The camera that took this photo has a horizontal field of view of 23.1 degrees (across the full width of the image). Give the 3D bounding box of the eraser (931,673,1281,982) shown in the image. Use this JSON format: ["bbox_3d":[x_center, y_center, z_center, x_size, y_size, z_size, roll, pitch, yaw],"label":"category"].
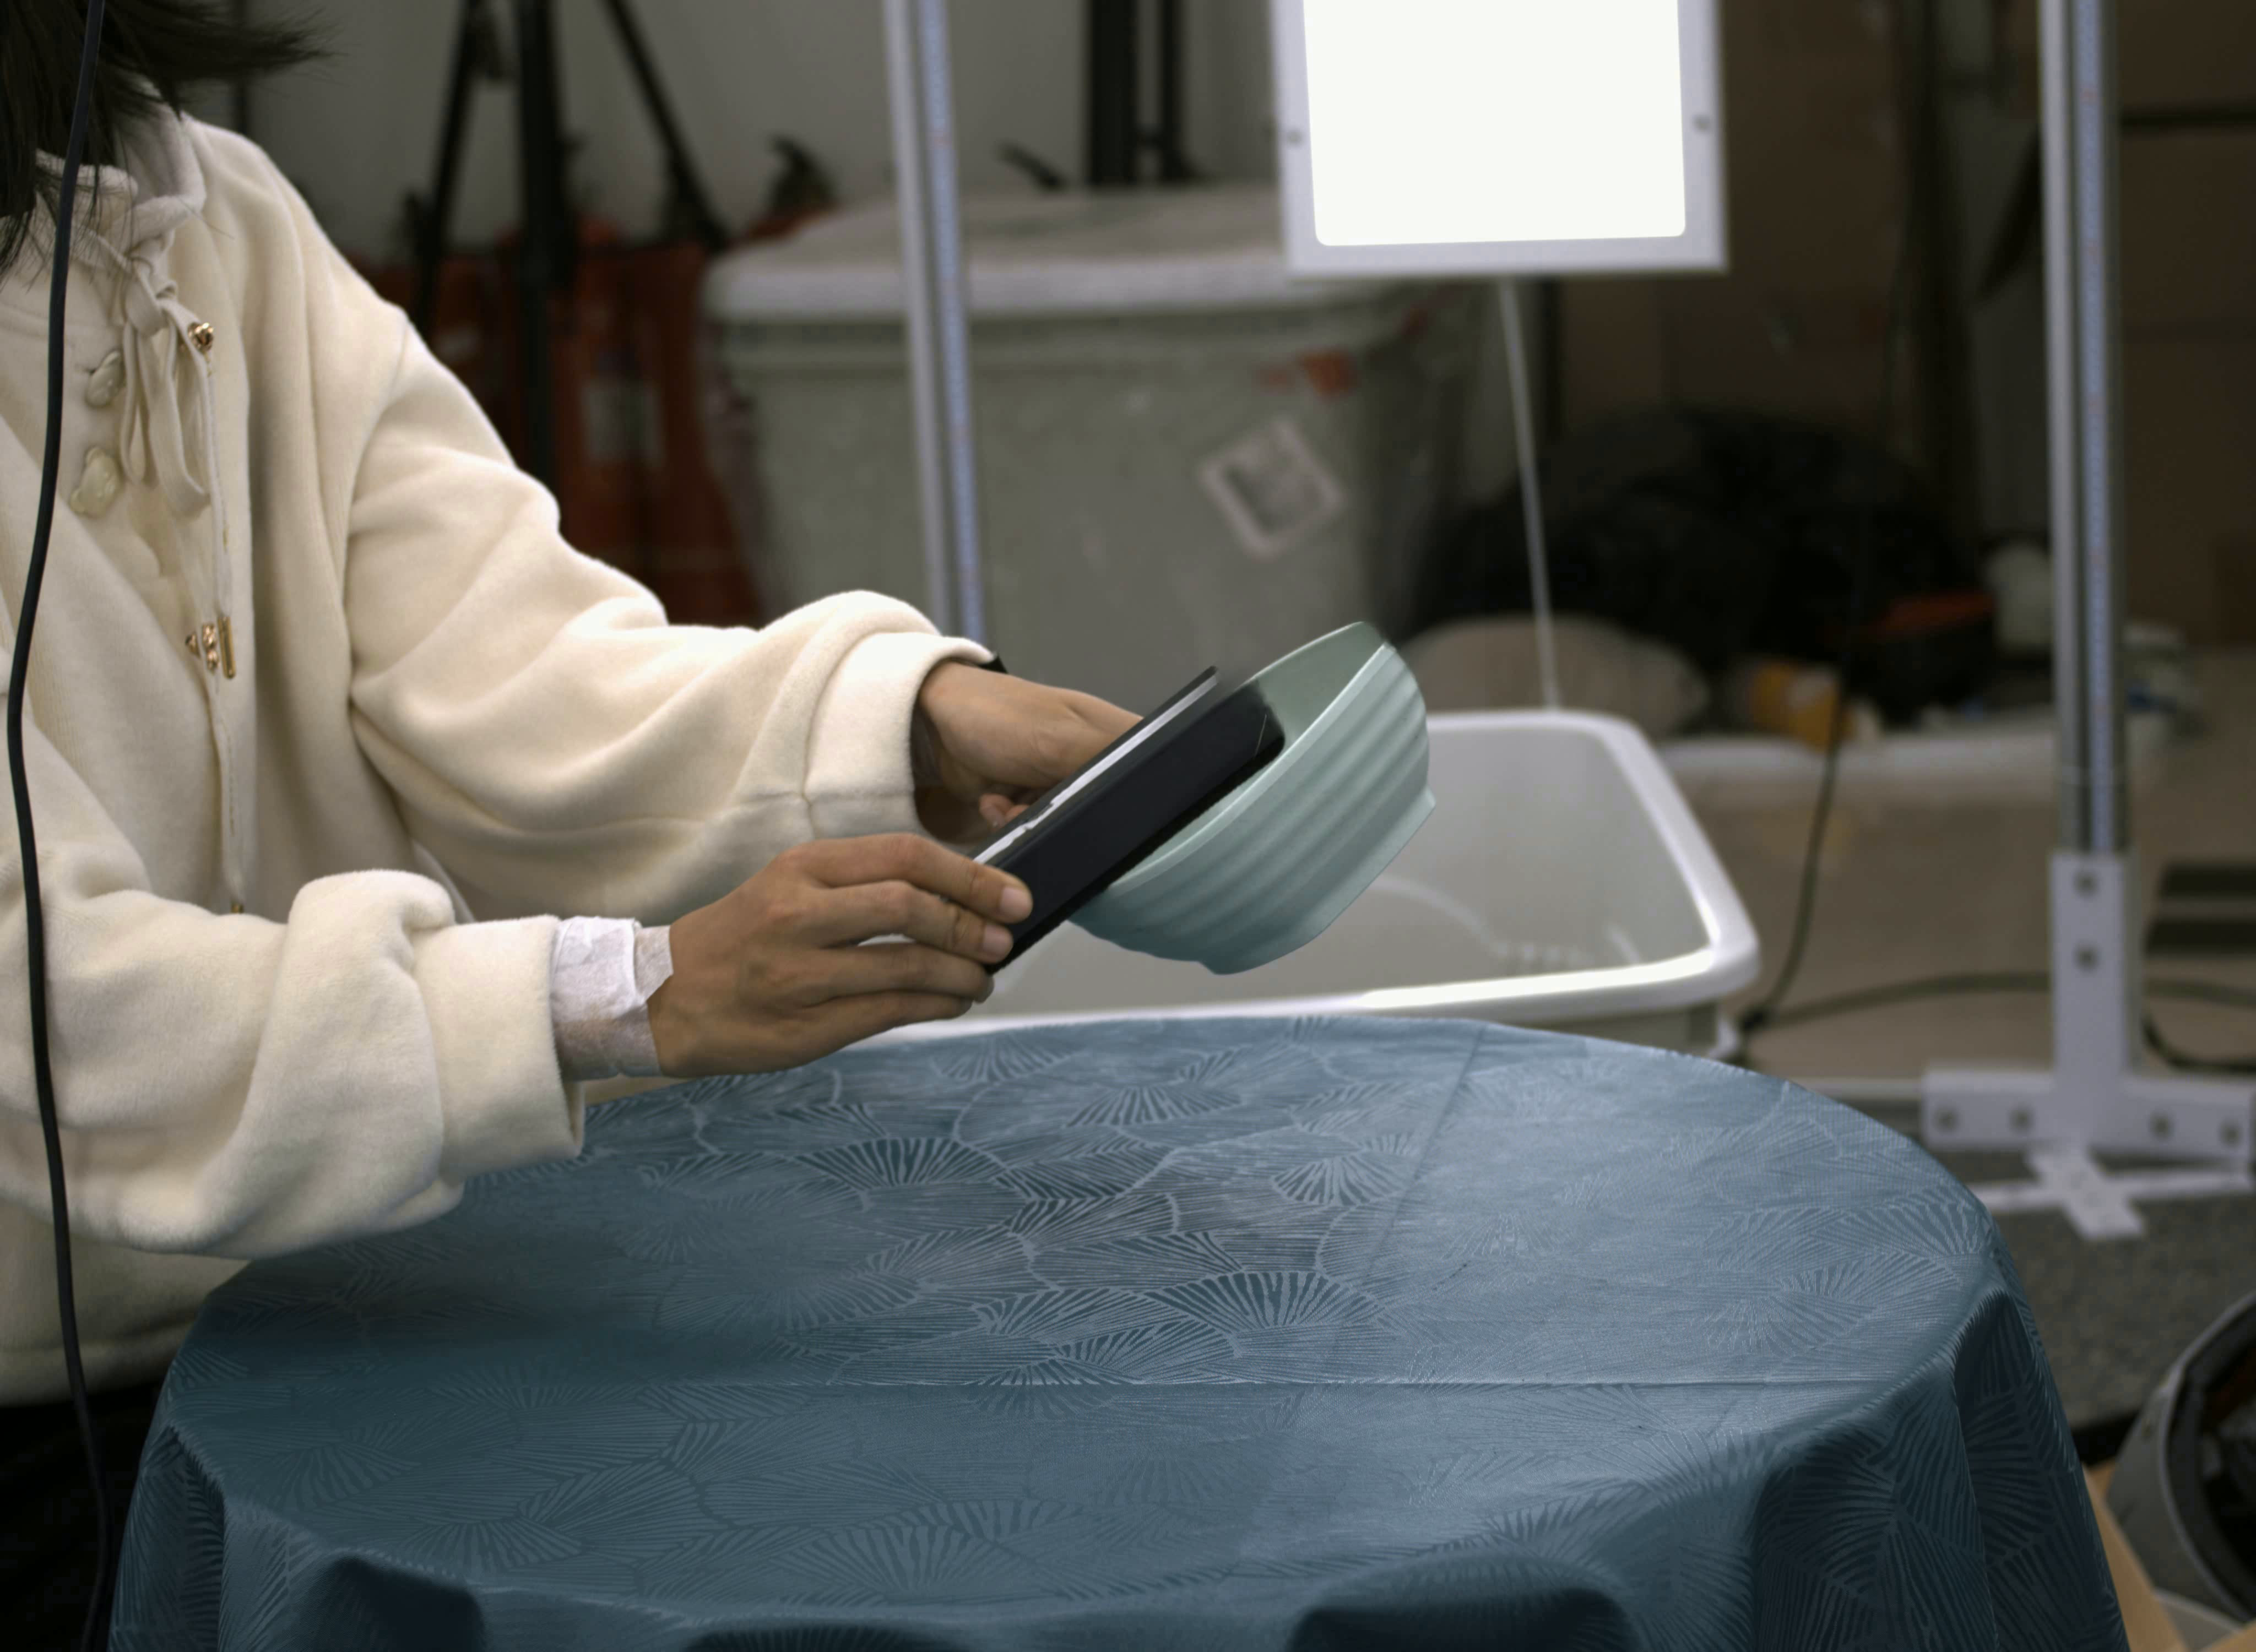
[{"bbox_3d":[-0.007,-0.001,1.798,0.125,0.030,0.054,-40,11,-1],"label":"eraser"}]

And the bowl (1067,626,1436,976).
[{"bbox_3d":[0.047,0.000,1.823,0.152,0.058,0.151,-38,11,6],"label":"bowl"}]
